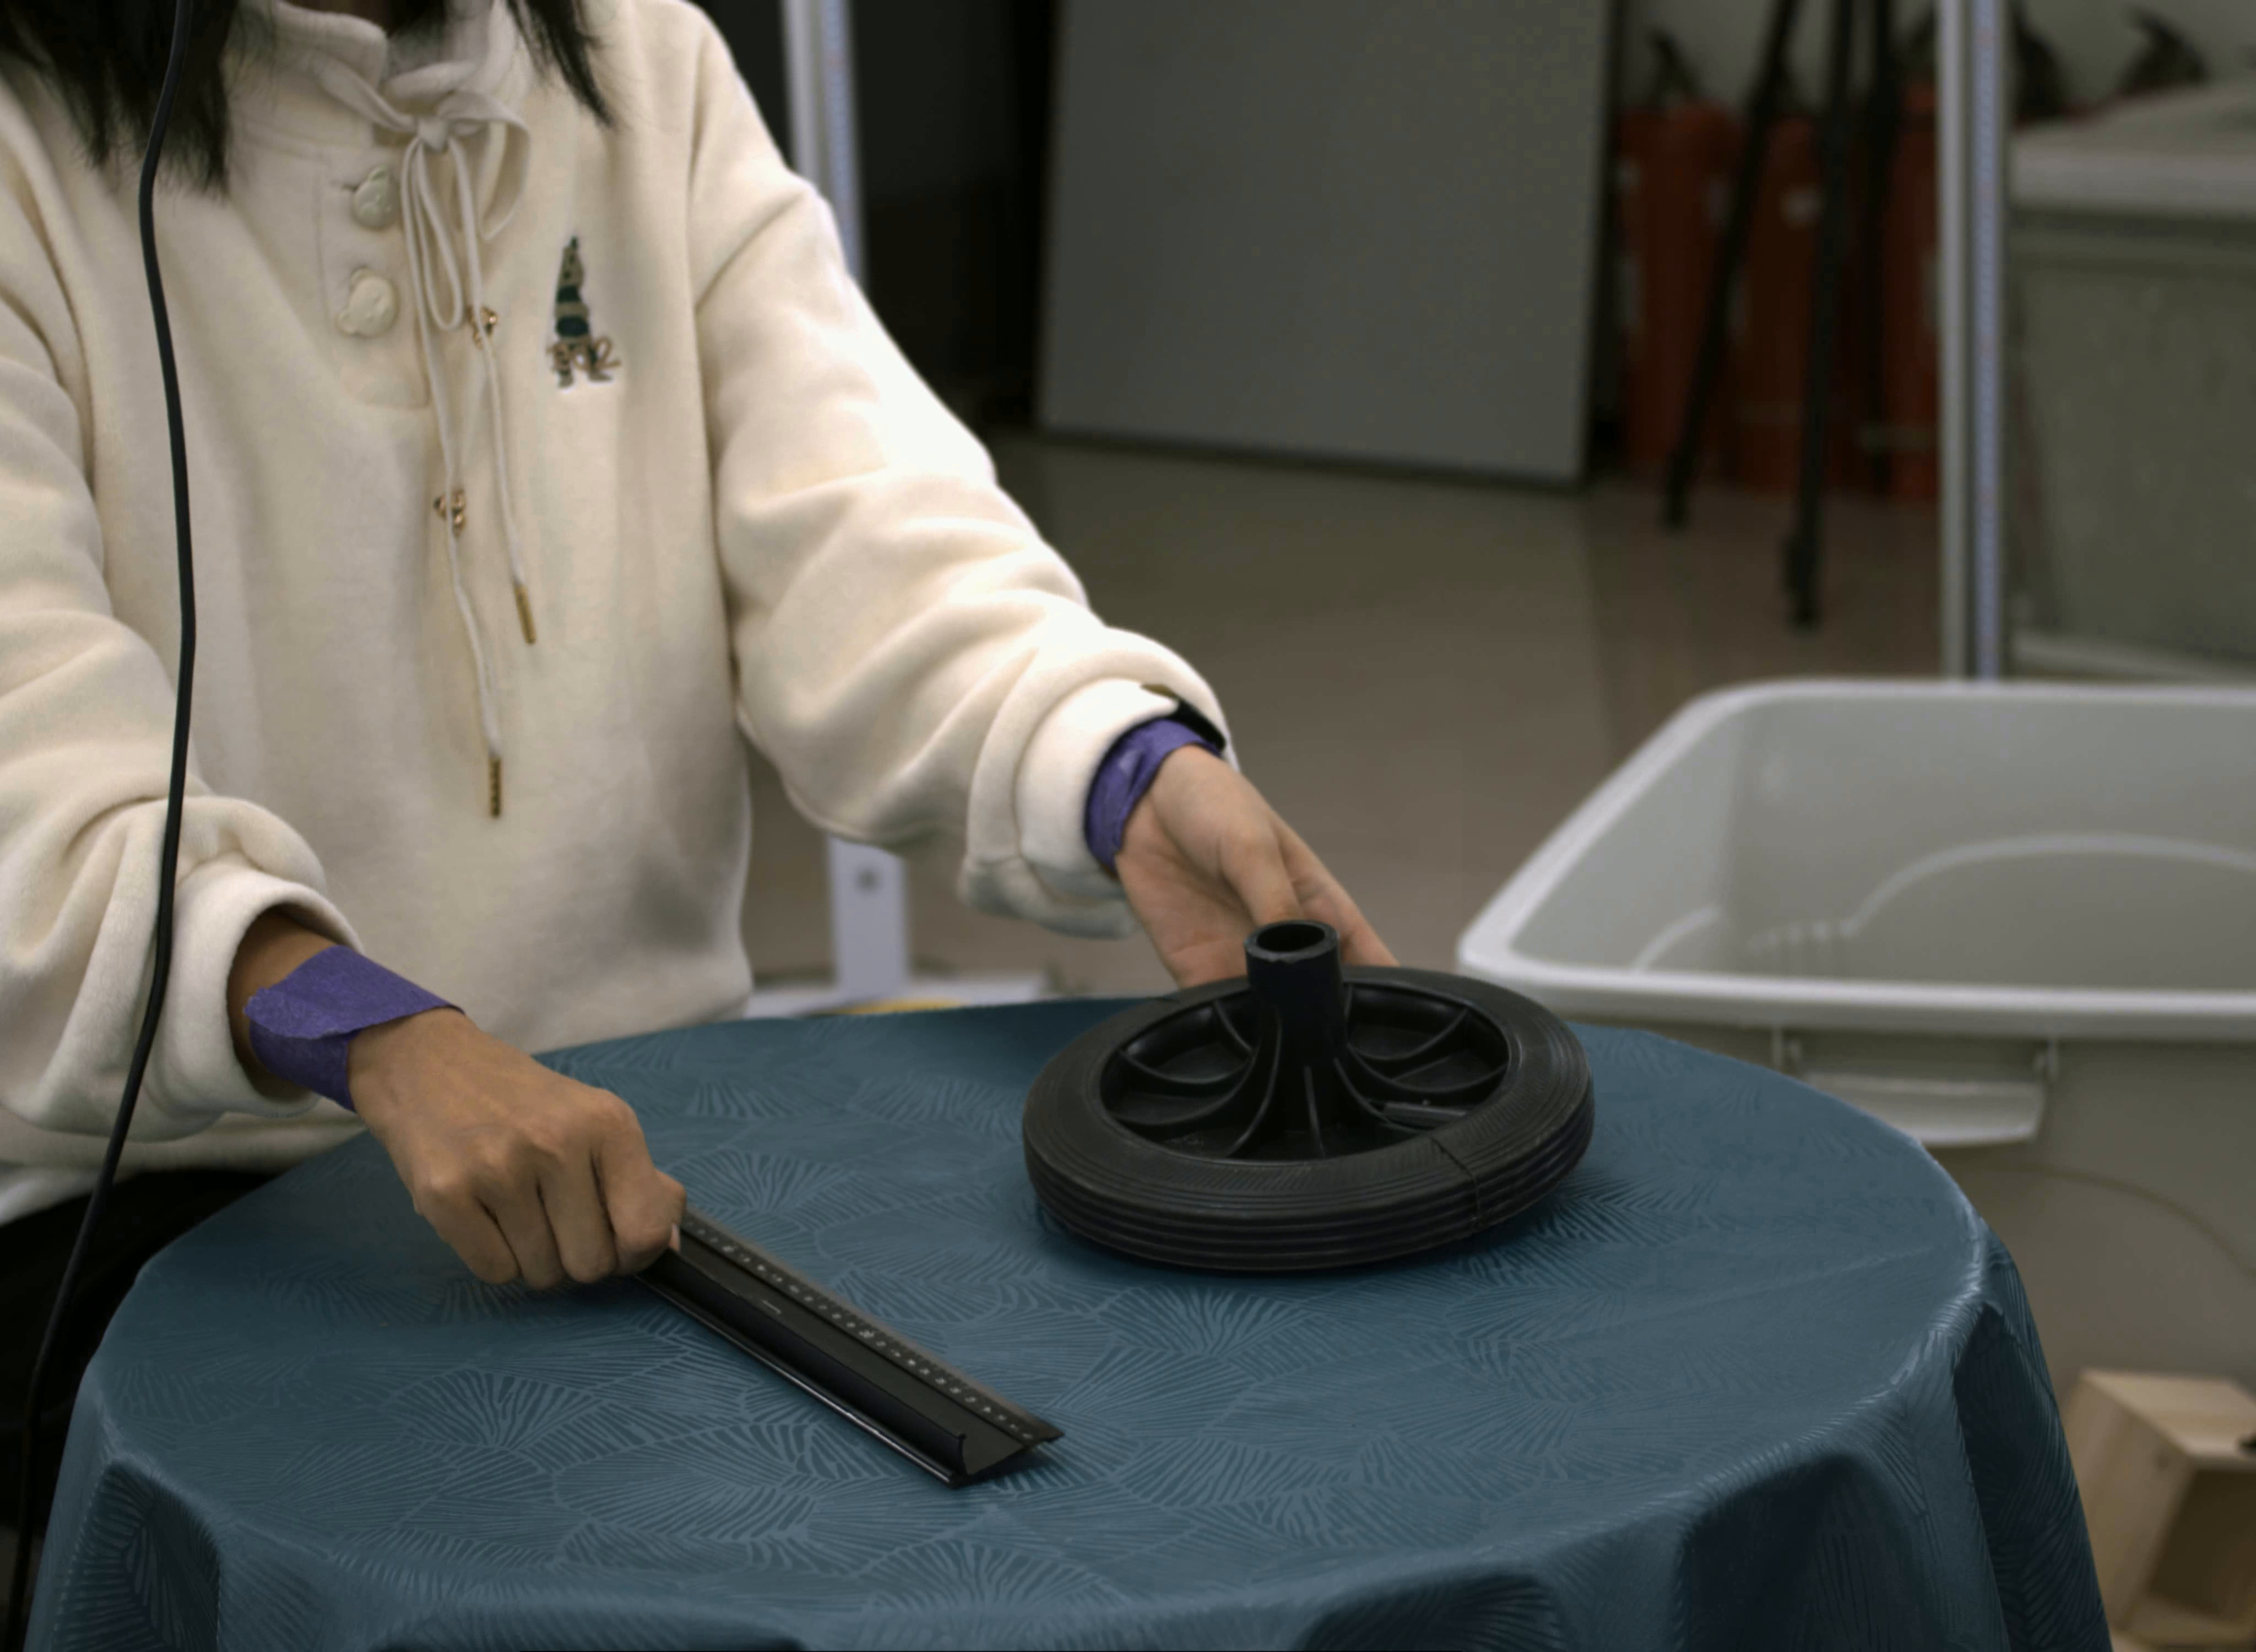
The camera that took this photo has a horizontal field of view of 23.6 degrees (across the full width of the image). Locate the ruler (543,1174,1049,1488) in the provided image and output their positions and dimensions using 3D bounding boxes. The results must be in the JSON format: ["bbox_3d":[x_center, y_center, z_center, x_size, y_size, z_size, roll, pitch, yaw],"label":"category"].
[{"bbox_3d":[-0.107,0.146,1.654,0.038,0.017,0.316,-17,18,-23],"label":"ruler"}]

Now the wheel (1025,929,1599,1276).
[{"bbox_3d":[0.058,0.076,1.746,0.188,0.080,0.187,-4,22,6],"label":"wheel"}]
